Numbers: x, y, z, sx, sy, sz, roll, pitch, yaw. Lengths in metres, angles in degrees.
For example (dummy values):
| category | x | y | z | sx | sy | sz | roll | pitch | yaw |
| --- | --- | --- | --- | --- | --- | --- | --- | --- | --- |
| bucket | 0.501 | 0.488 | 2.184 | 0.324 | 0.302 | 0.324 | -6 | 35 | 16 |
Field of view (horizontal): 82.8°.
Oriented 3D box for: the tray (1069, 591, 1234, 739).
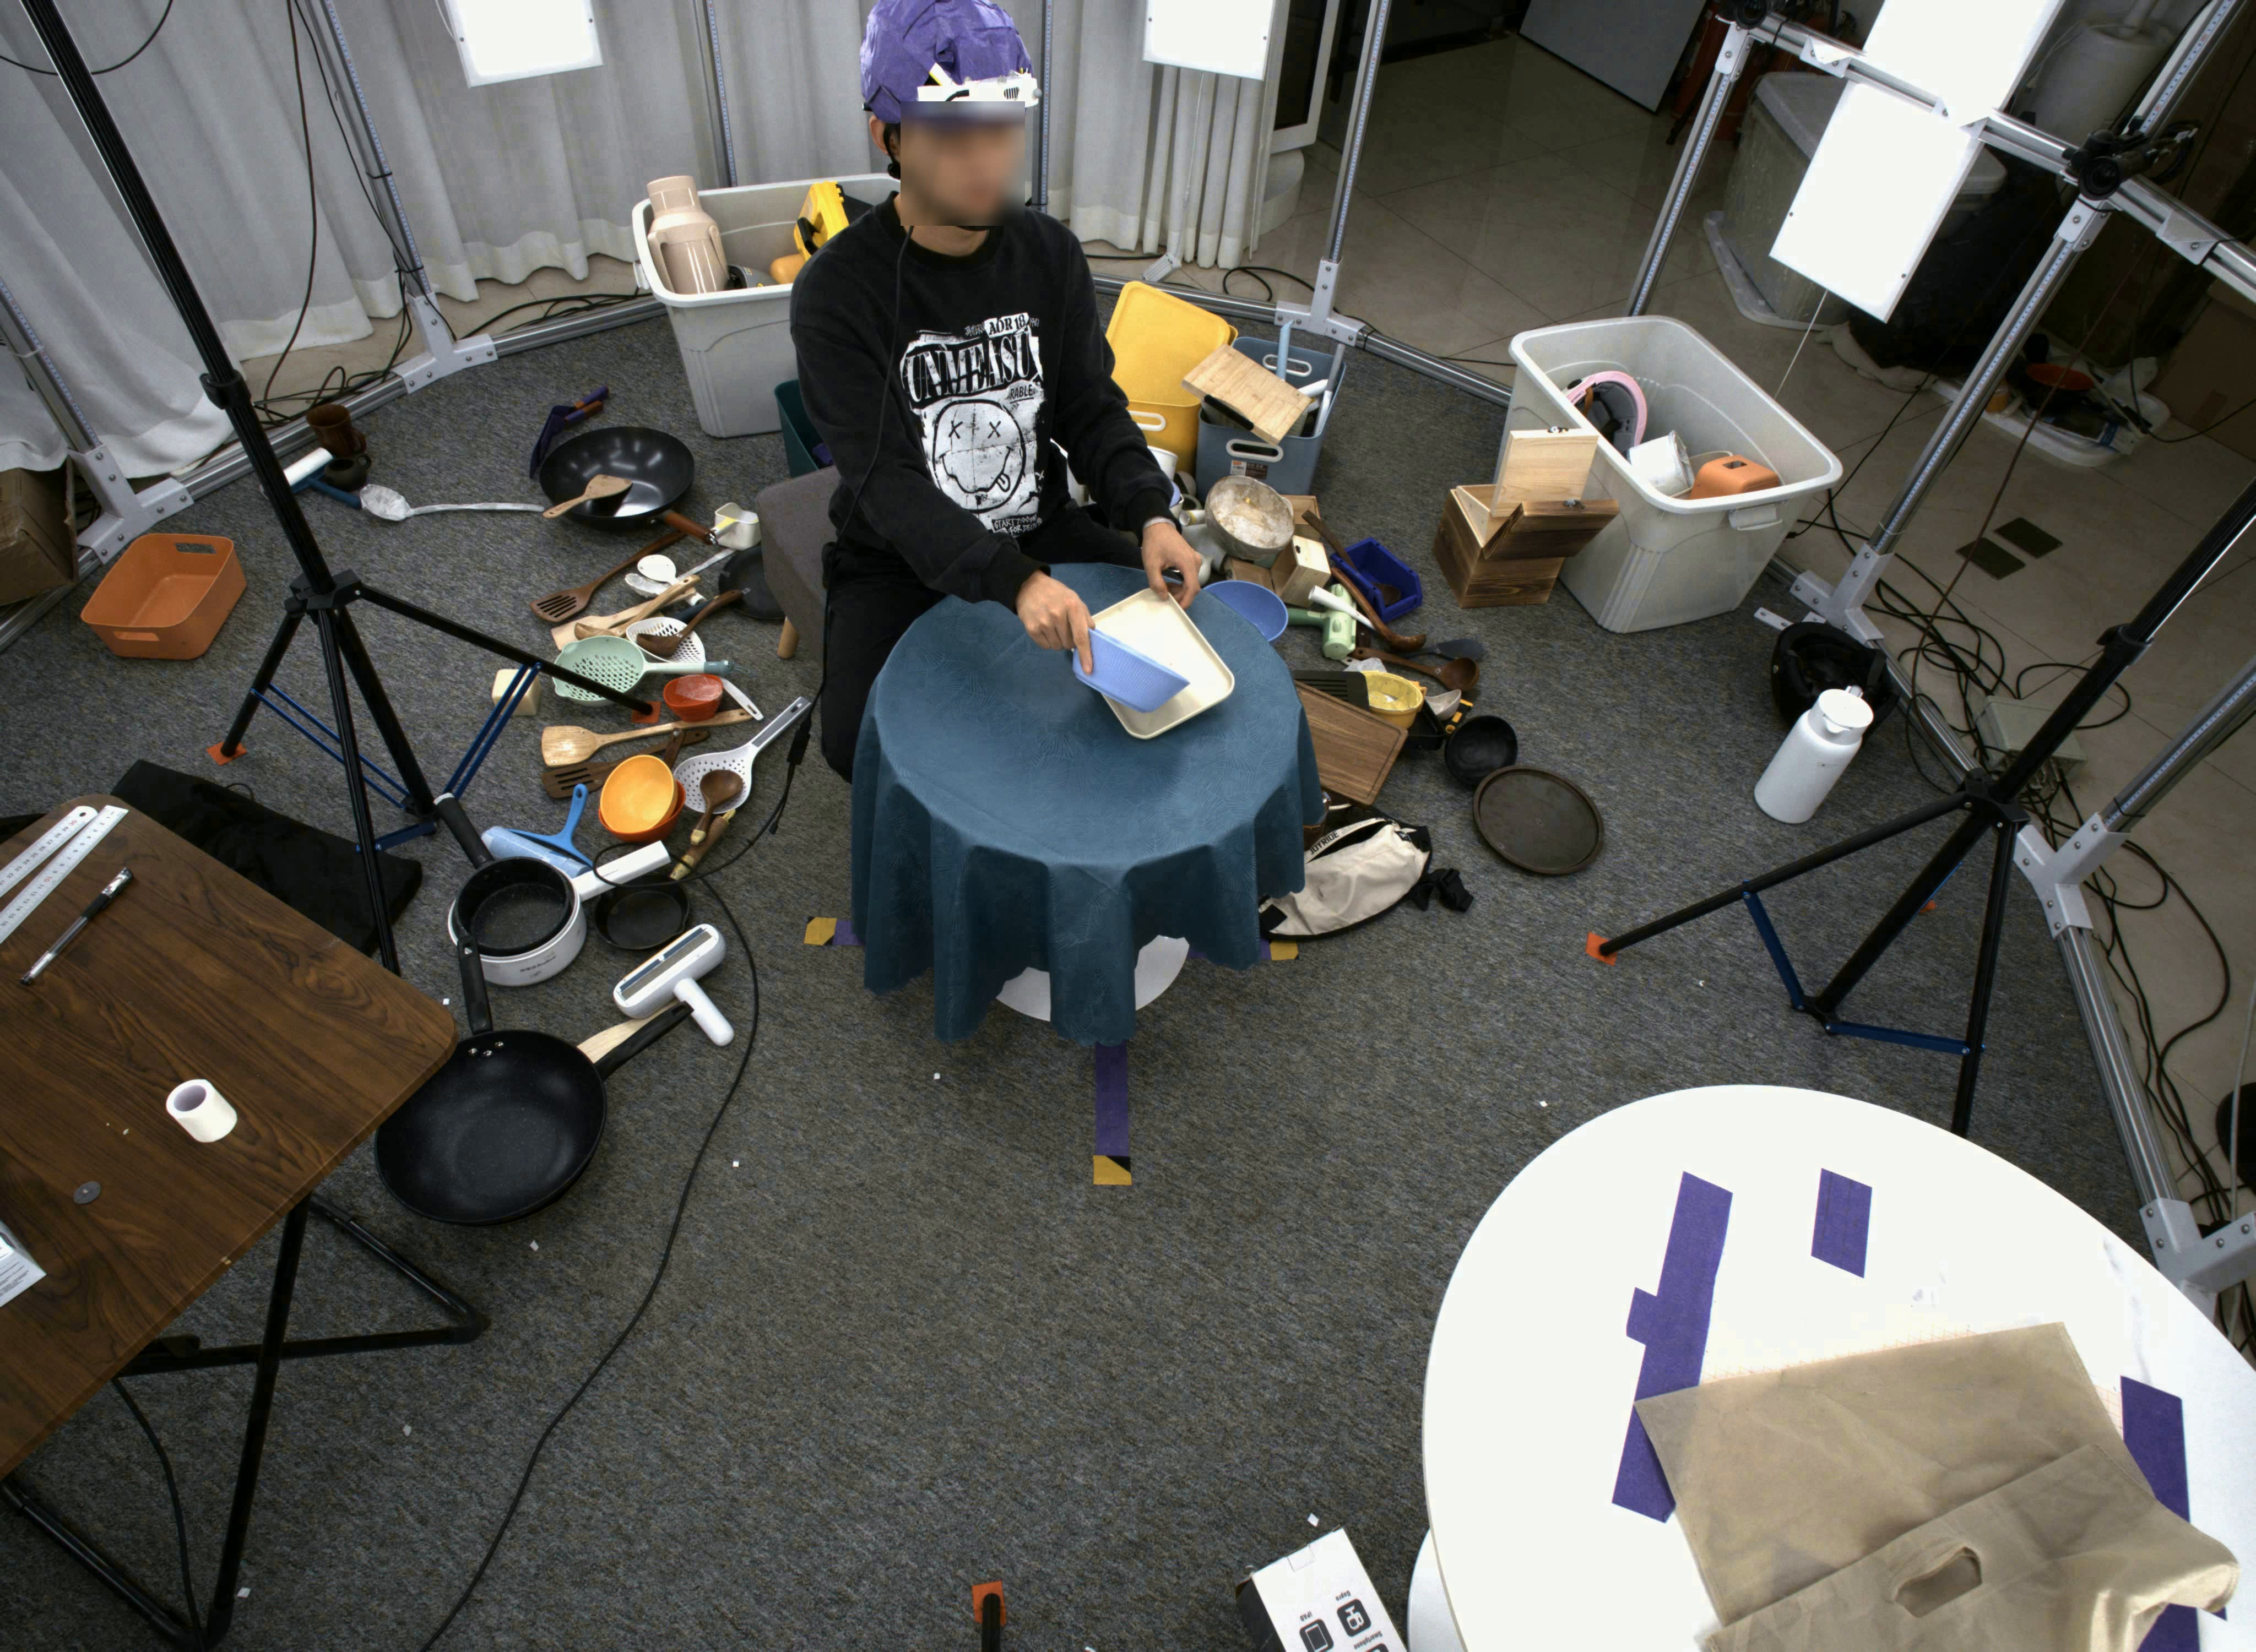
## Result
| category | x | y | z | sx | sy | sz | roll | pitch | yaw |
| --- | --- | --- | --- | --- | --- | --- | --- | --- | --- |
| tray | 0.032 | -0.233 | 1.853 | 0.171 | 0.017 | 0.245 | -28 | 56 | -8 |

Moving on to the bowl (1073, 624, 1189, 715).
| category | x | y | z | sx | sy | sz | roll | pitch | yaw |
| --- | --- | --- | --- | --- | --- | --- | --- | --- | --- |
| bowl | -0.008 | -0.207 | 1.746 | 0.178 | 0.175 | 0.070 | 31 | 97 | 20 |
